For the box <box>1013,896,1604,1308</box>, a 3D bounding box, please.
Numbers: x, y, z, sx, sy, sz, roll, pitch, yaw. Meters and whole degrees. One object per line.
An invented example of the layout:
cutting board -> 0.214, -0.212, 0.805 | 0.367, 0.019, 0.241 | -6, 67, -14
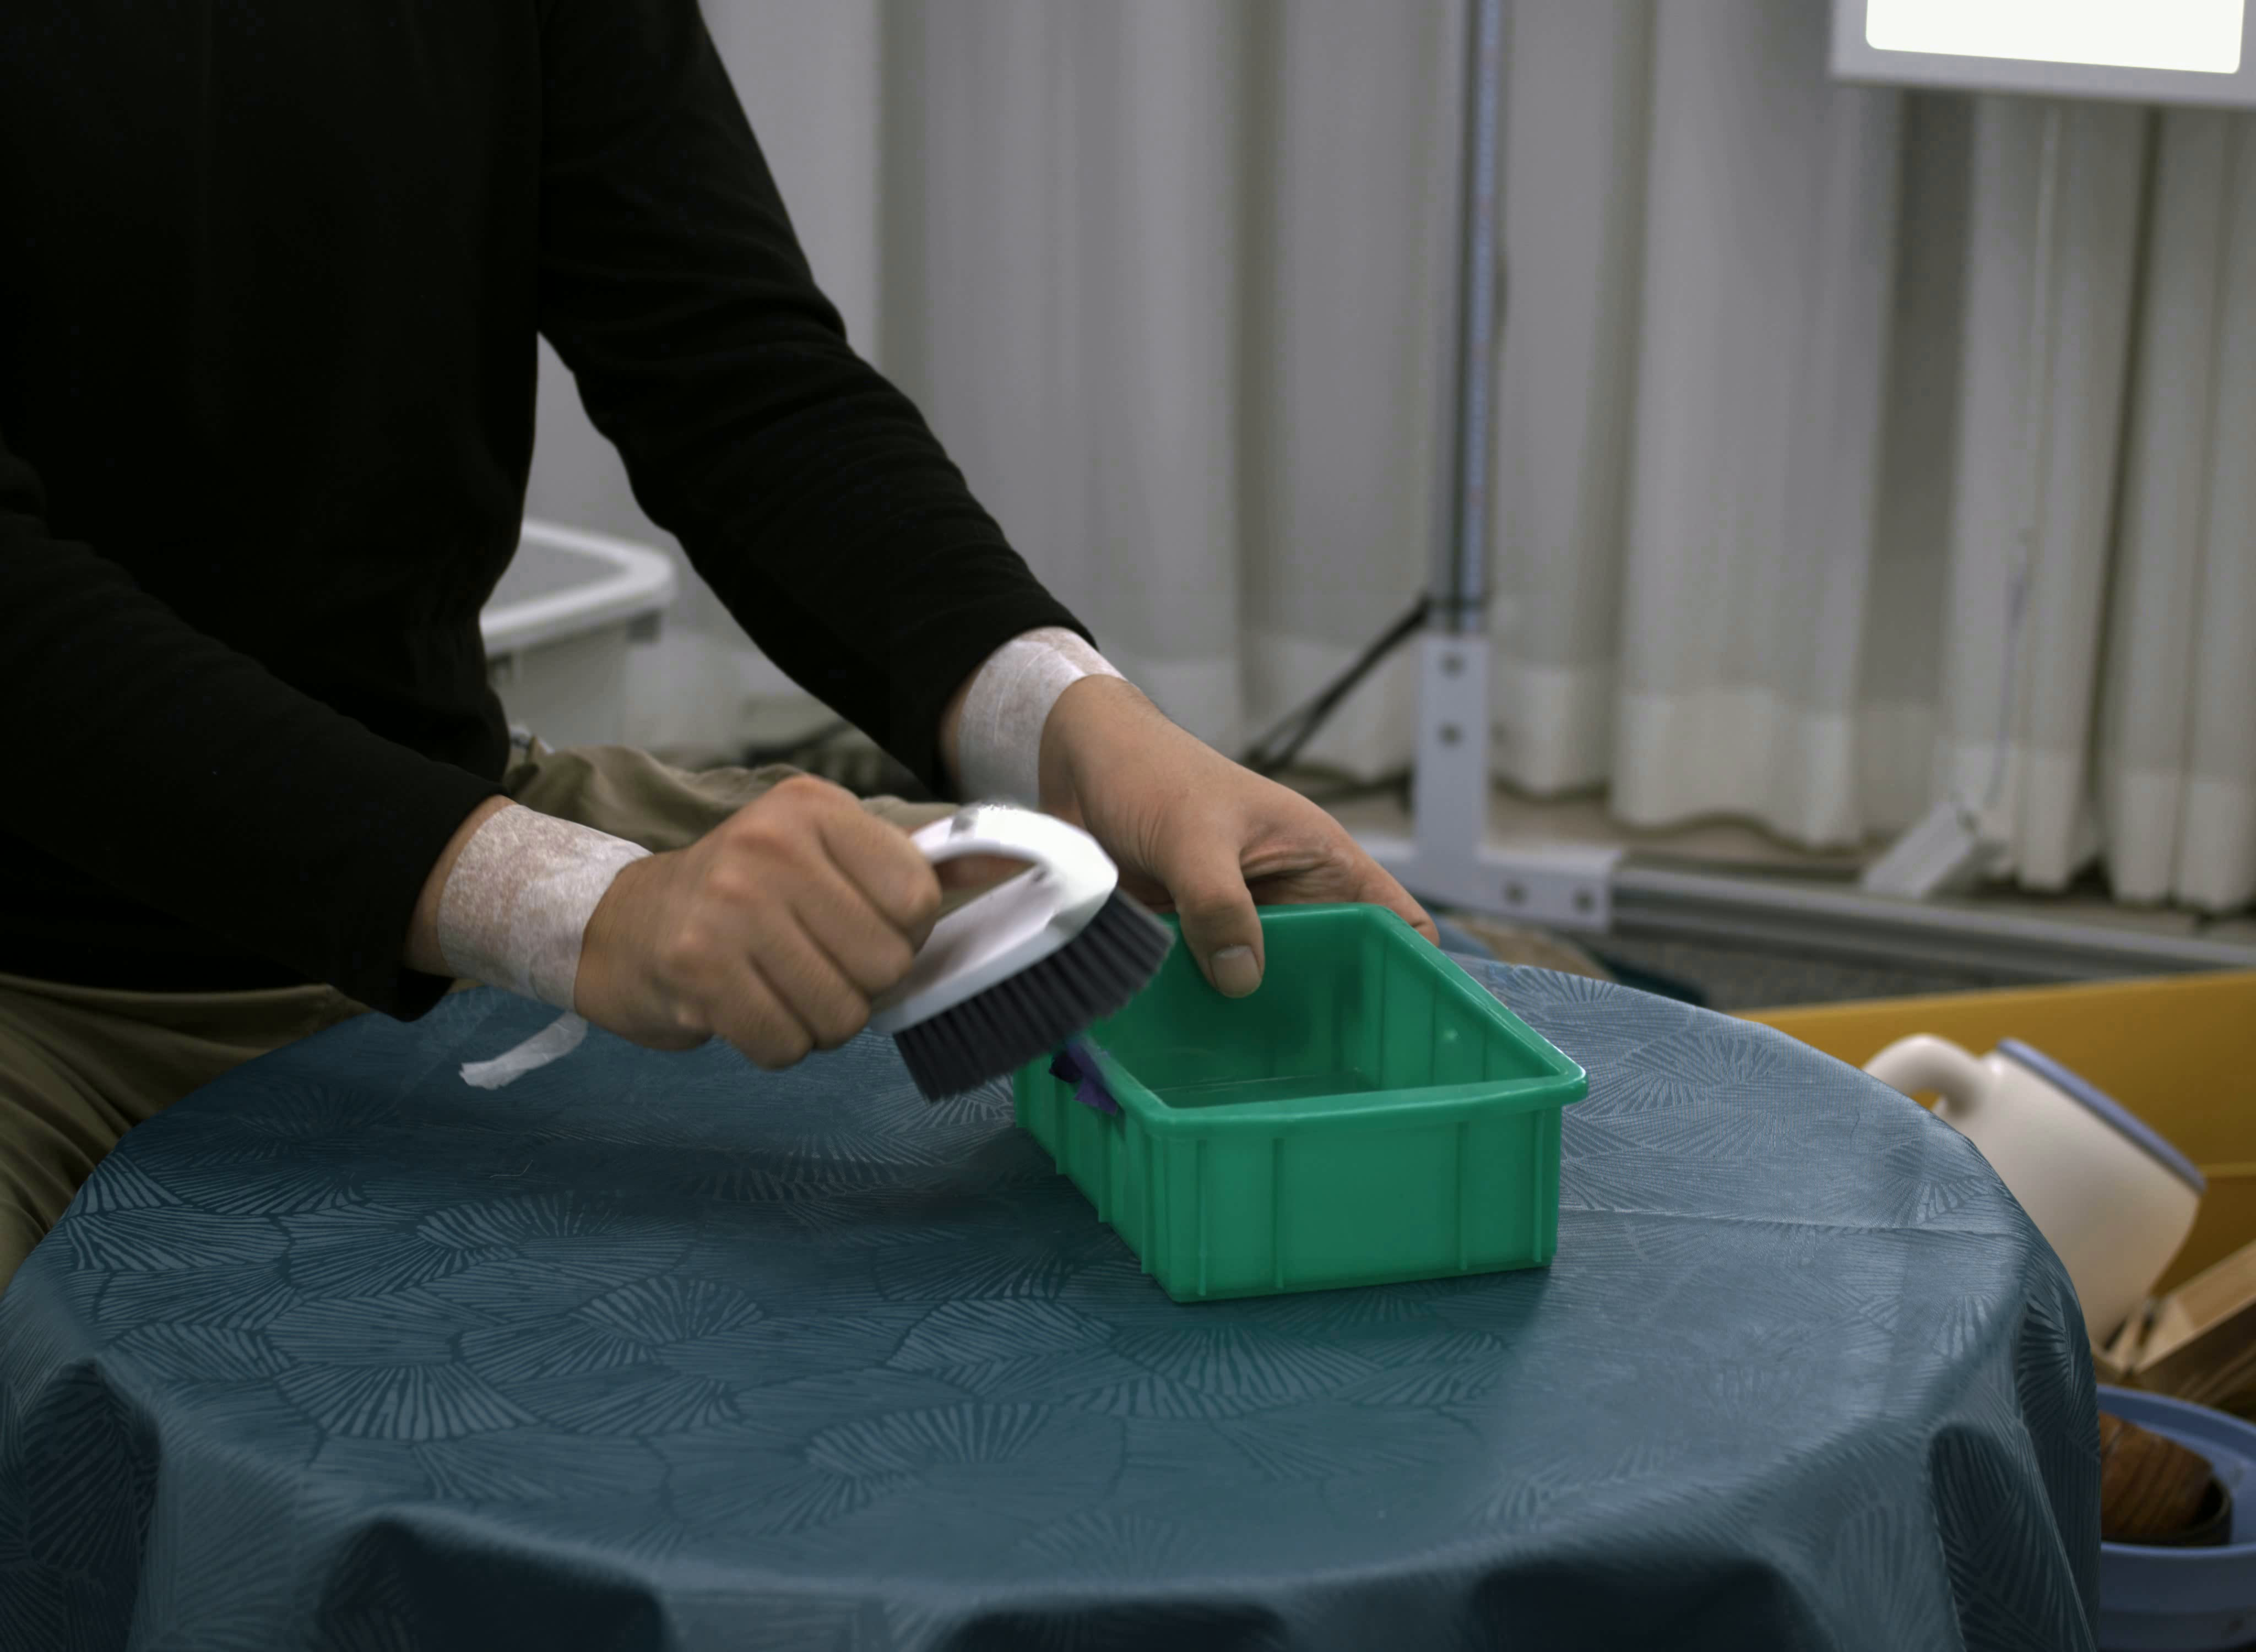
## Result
box -> 0.048, 0.083, 1.611 | 0.139, 0.066, 0.208 | -7, 18, -17

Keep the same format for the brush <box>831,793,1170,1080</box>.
brush -> -0.046, 0.027, 1.595 | 0.099, 0.073, 0.050 | -28, 24, 33
